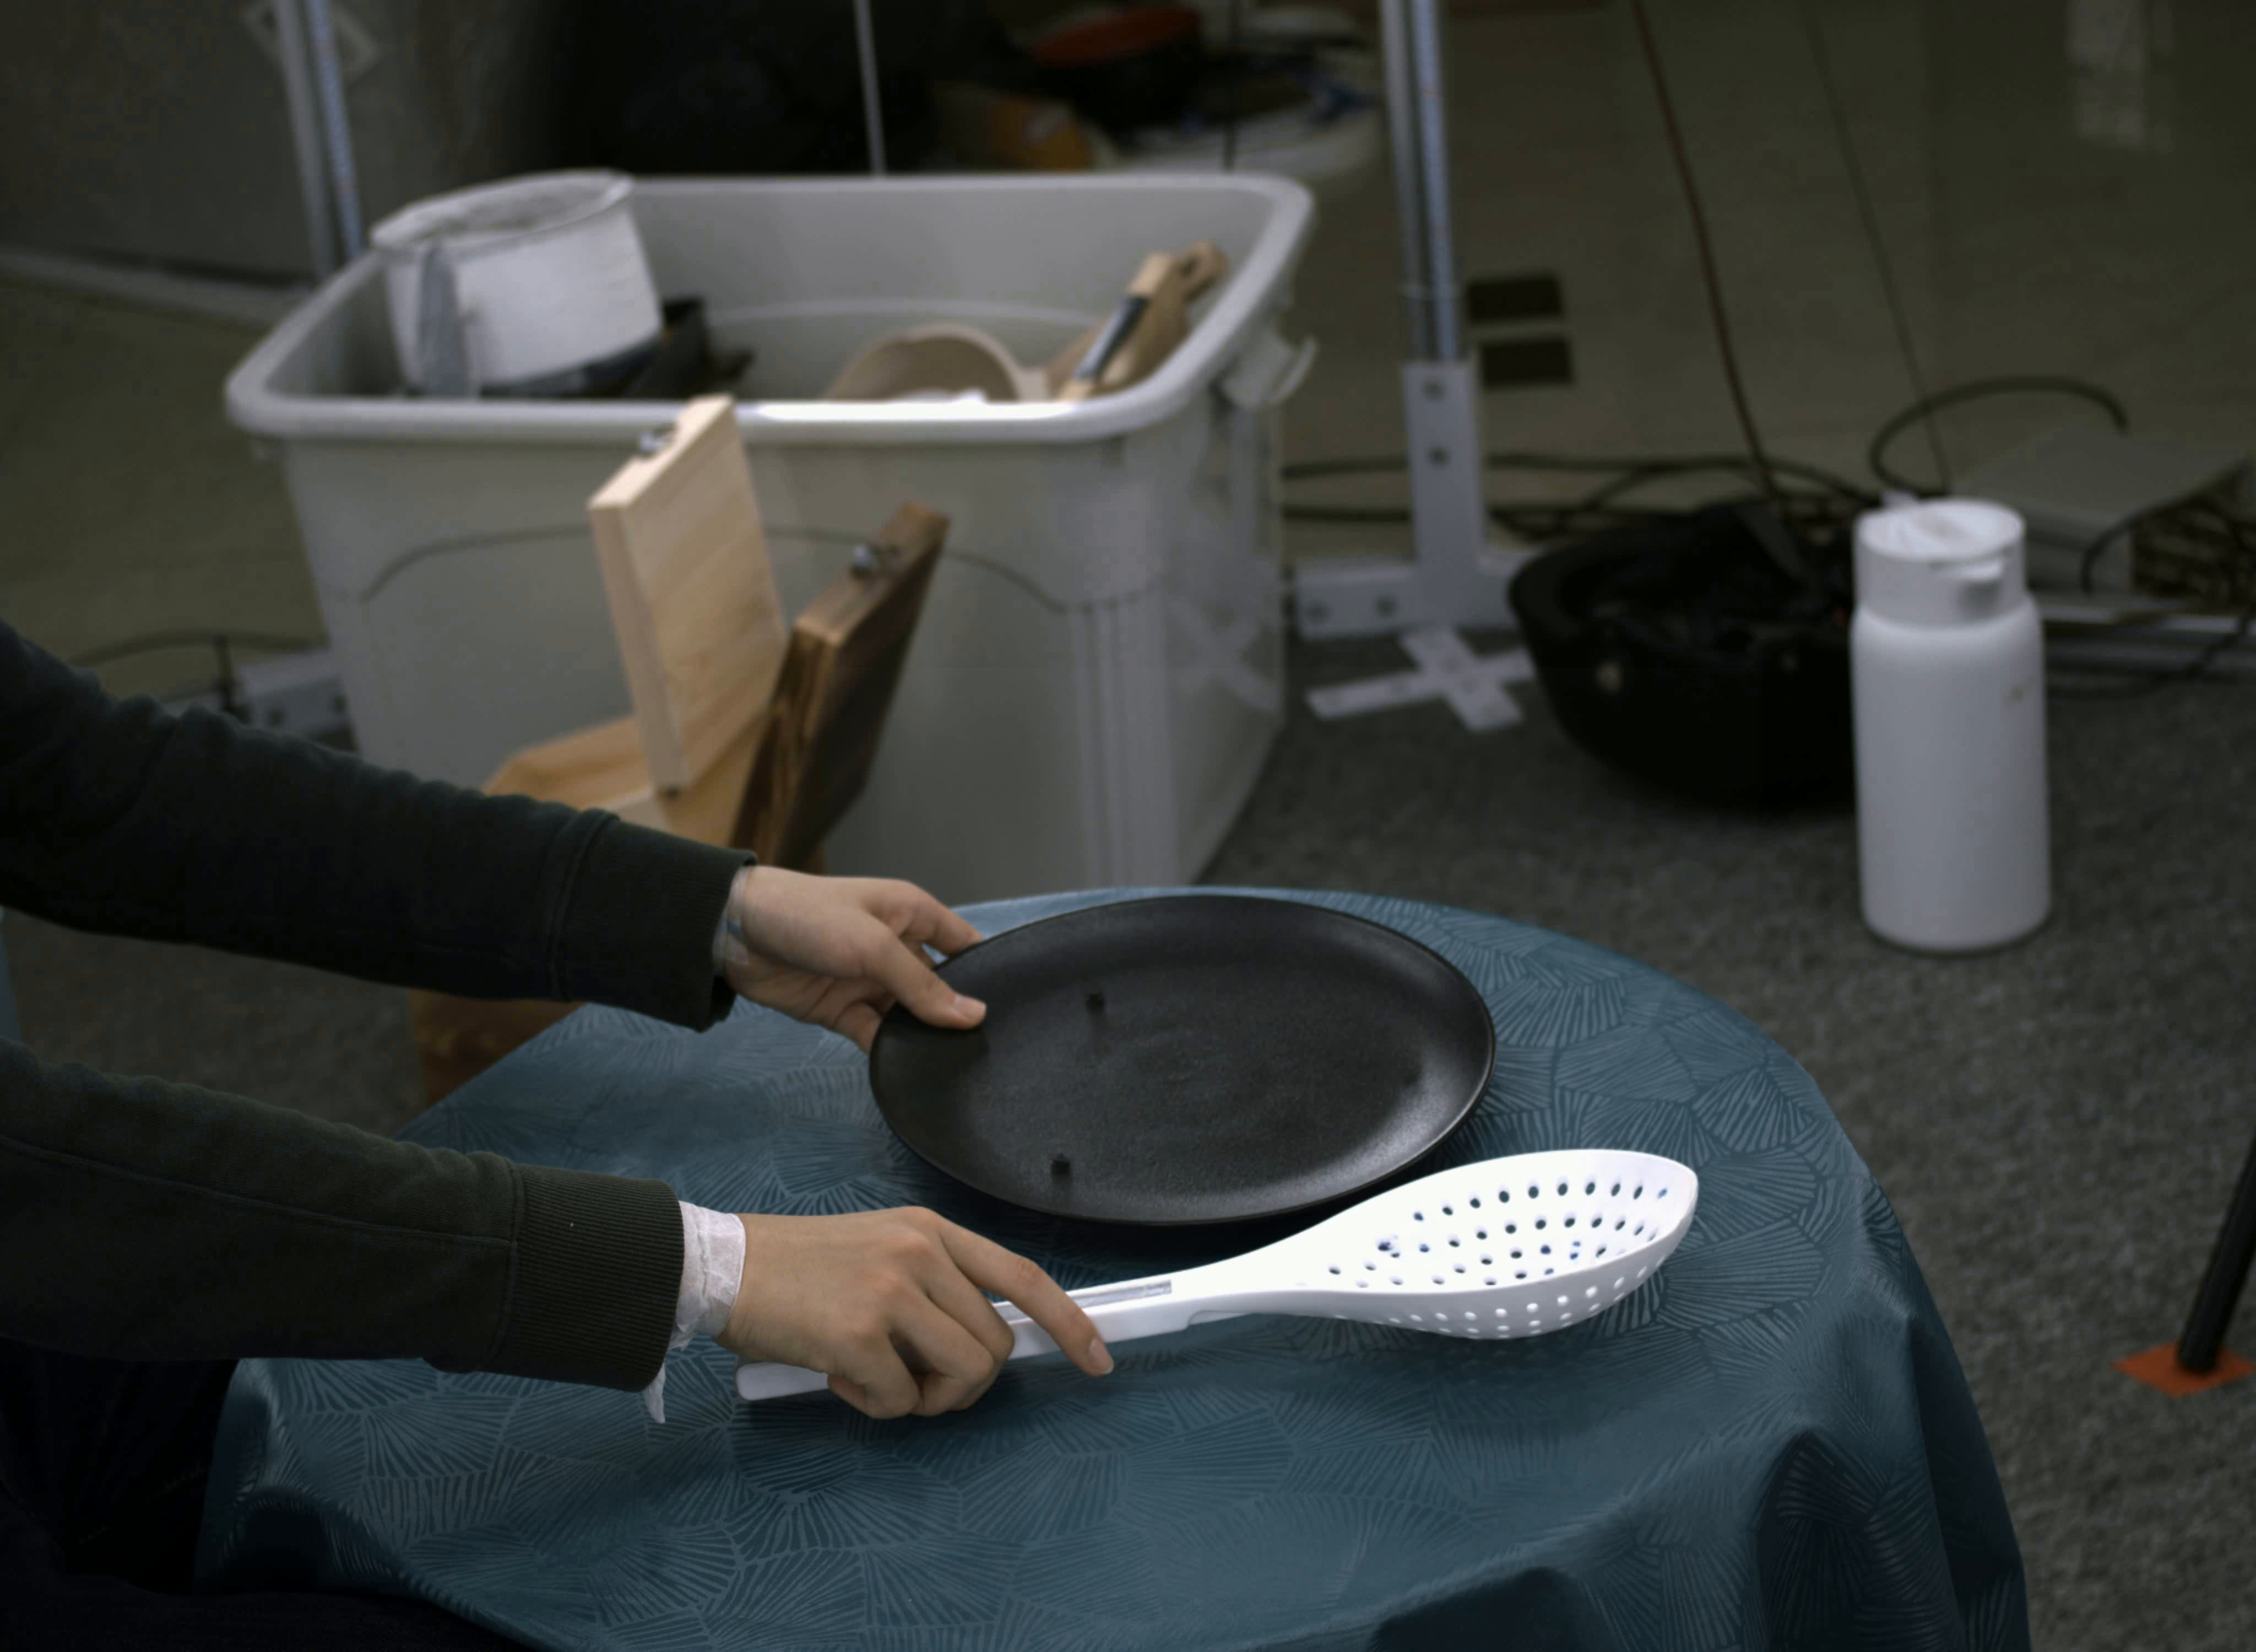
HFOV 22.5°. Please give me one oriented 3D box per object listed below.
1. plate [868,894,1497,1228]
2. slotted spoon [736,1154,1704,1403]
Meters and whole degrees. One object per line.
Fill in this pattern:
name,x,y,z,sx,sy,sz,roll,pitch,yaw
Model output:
plate,0.021,0.096,2.193,0.244,0.024,0.240,-2,29,1
slotted spoon,0.032,0.166,2.026,0.349,0.046,0.135,-6,14,1
